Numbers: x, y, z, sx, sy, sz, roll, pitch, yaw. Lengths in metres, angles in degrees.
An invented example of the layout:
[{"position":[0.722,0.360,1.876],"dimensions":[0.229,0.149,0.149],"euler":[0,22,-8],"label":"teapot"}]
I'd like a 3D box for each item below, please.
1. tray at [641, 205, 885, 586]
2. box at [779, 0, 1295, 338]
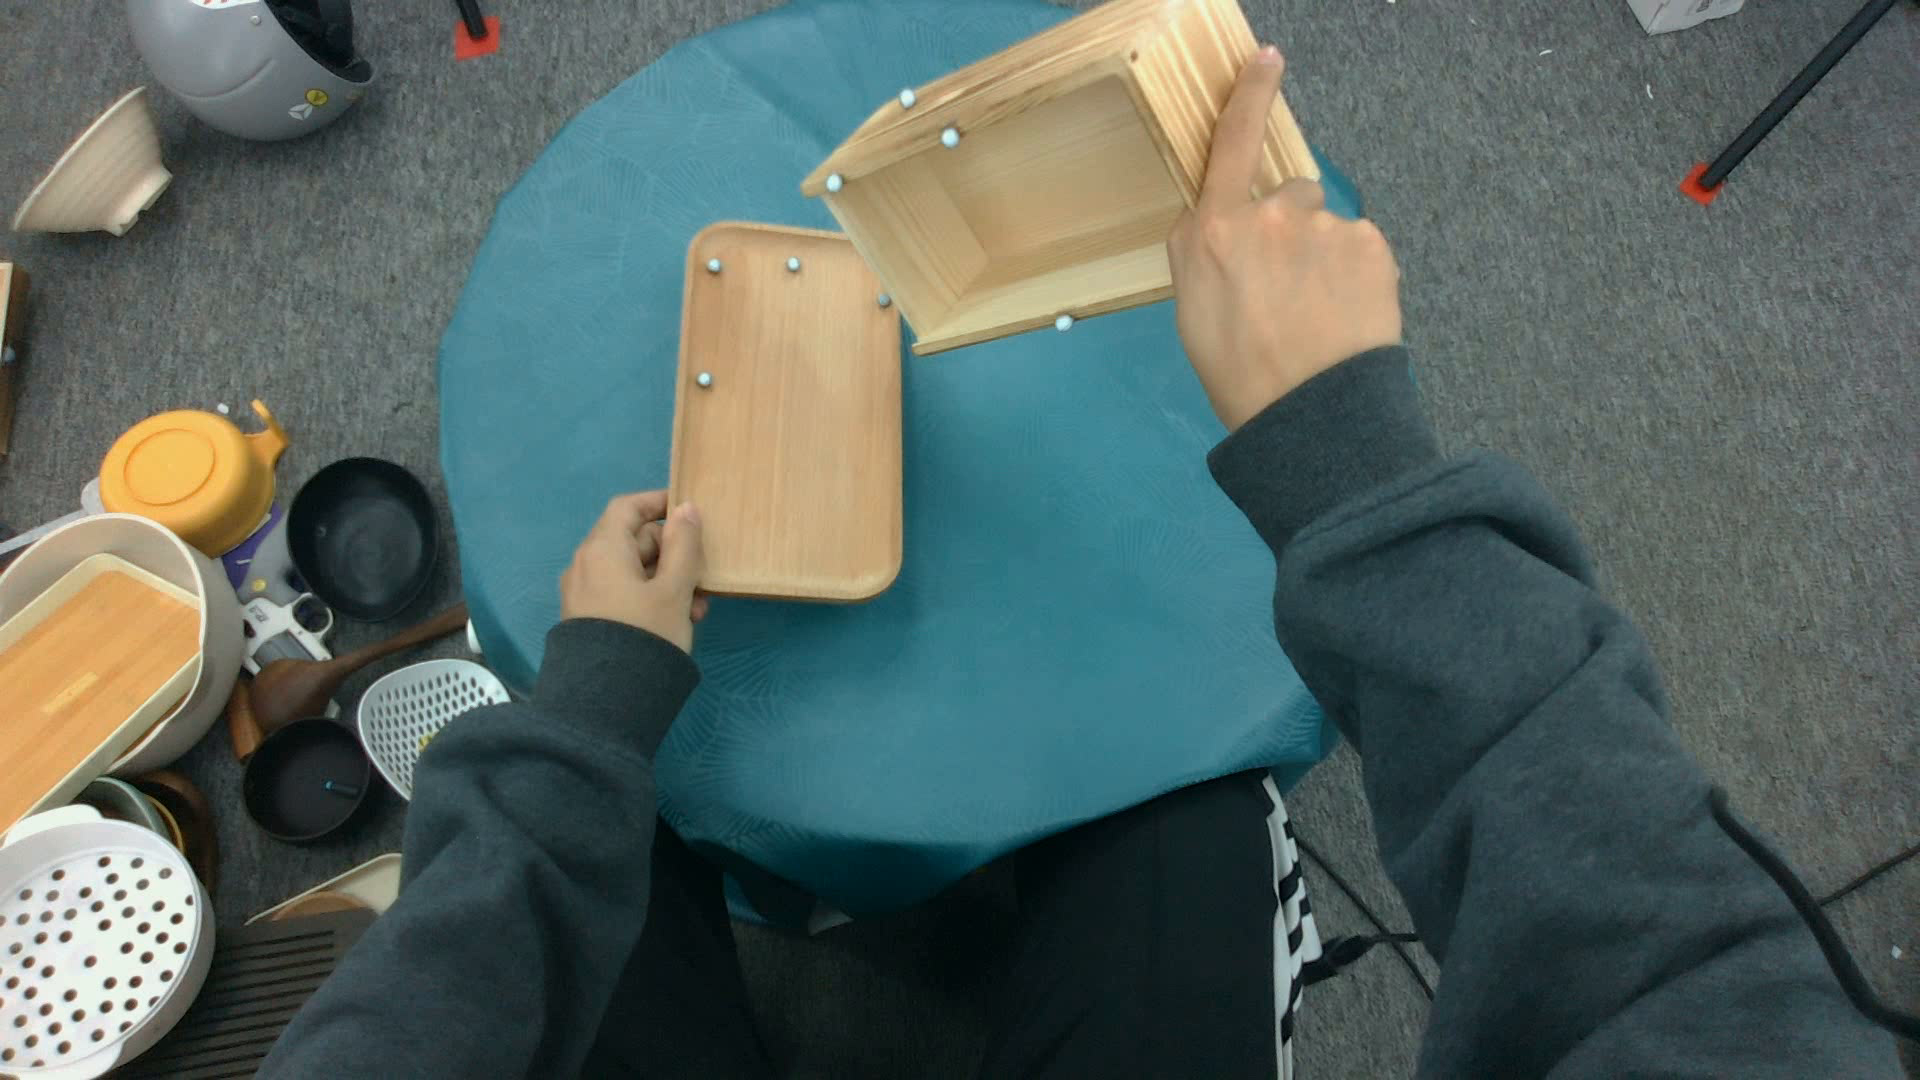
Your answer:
[{"position":[-0.109,-0.087,0.781],"dimensions":[0.130,0.023,0.251],"euler":[2,62,-9],"label":"tray"},{"position":[0.029,-0.172,0.634],"dimensions":[0.107,0.211,0.080],"euler":[54,55,-26],"label":"box"}]
